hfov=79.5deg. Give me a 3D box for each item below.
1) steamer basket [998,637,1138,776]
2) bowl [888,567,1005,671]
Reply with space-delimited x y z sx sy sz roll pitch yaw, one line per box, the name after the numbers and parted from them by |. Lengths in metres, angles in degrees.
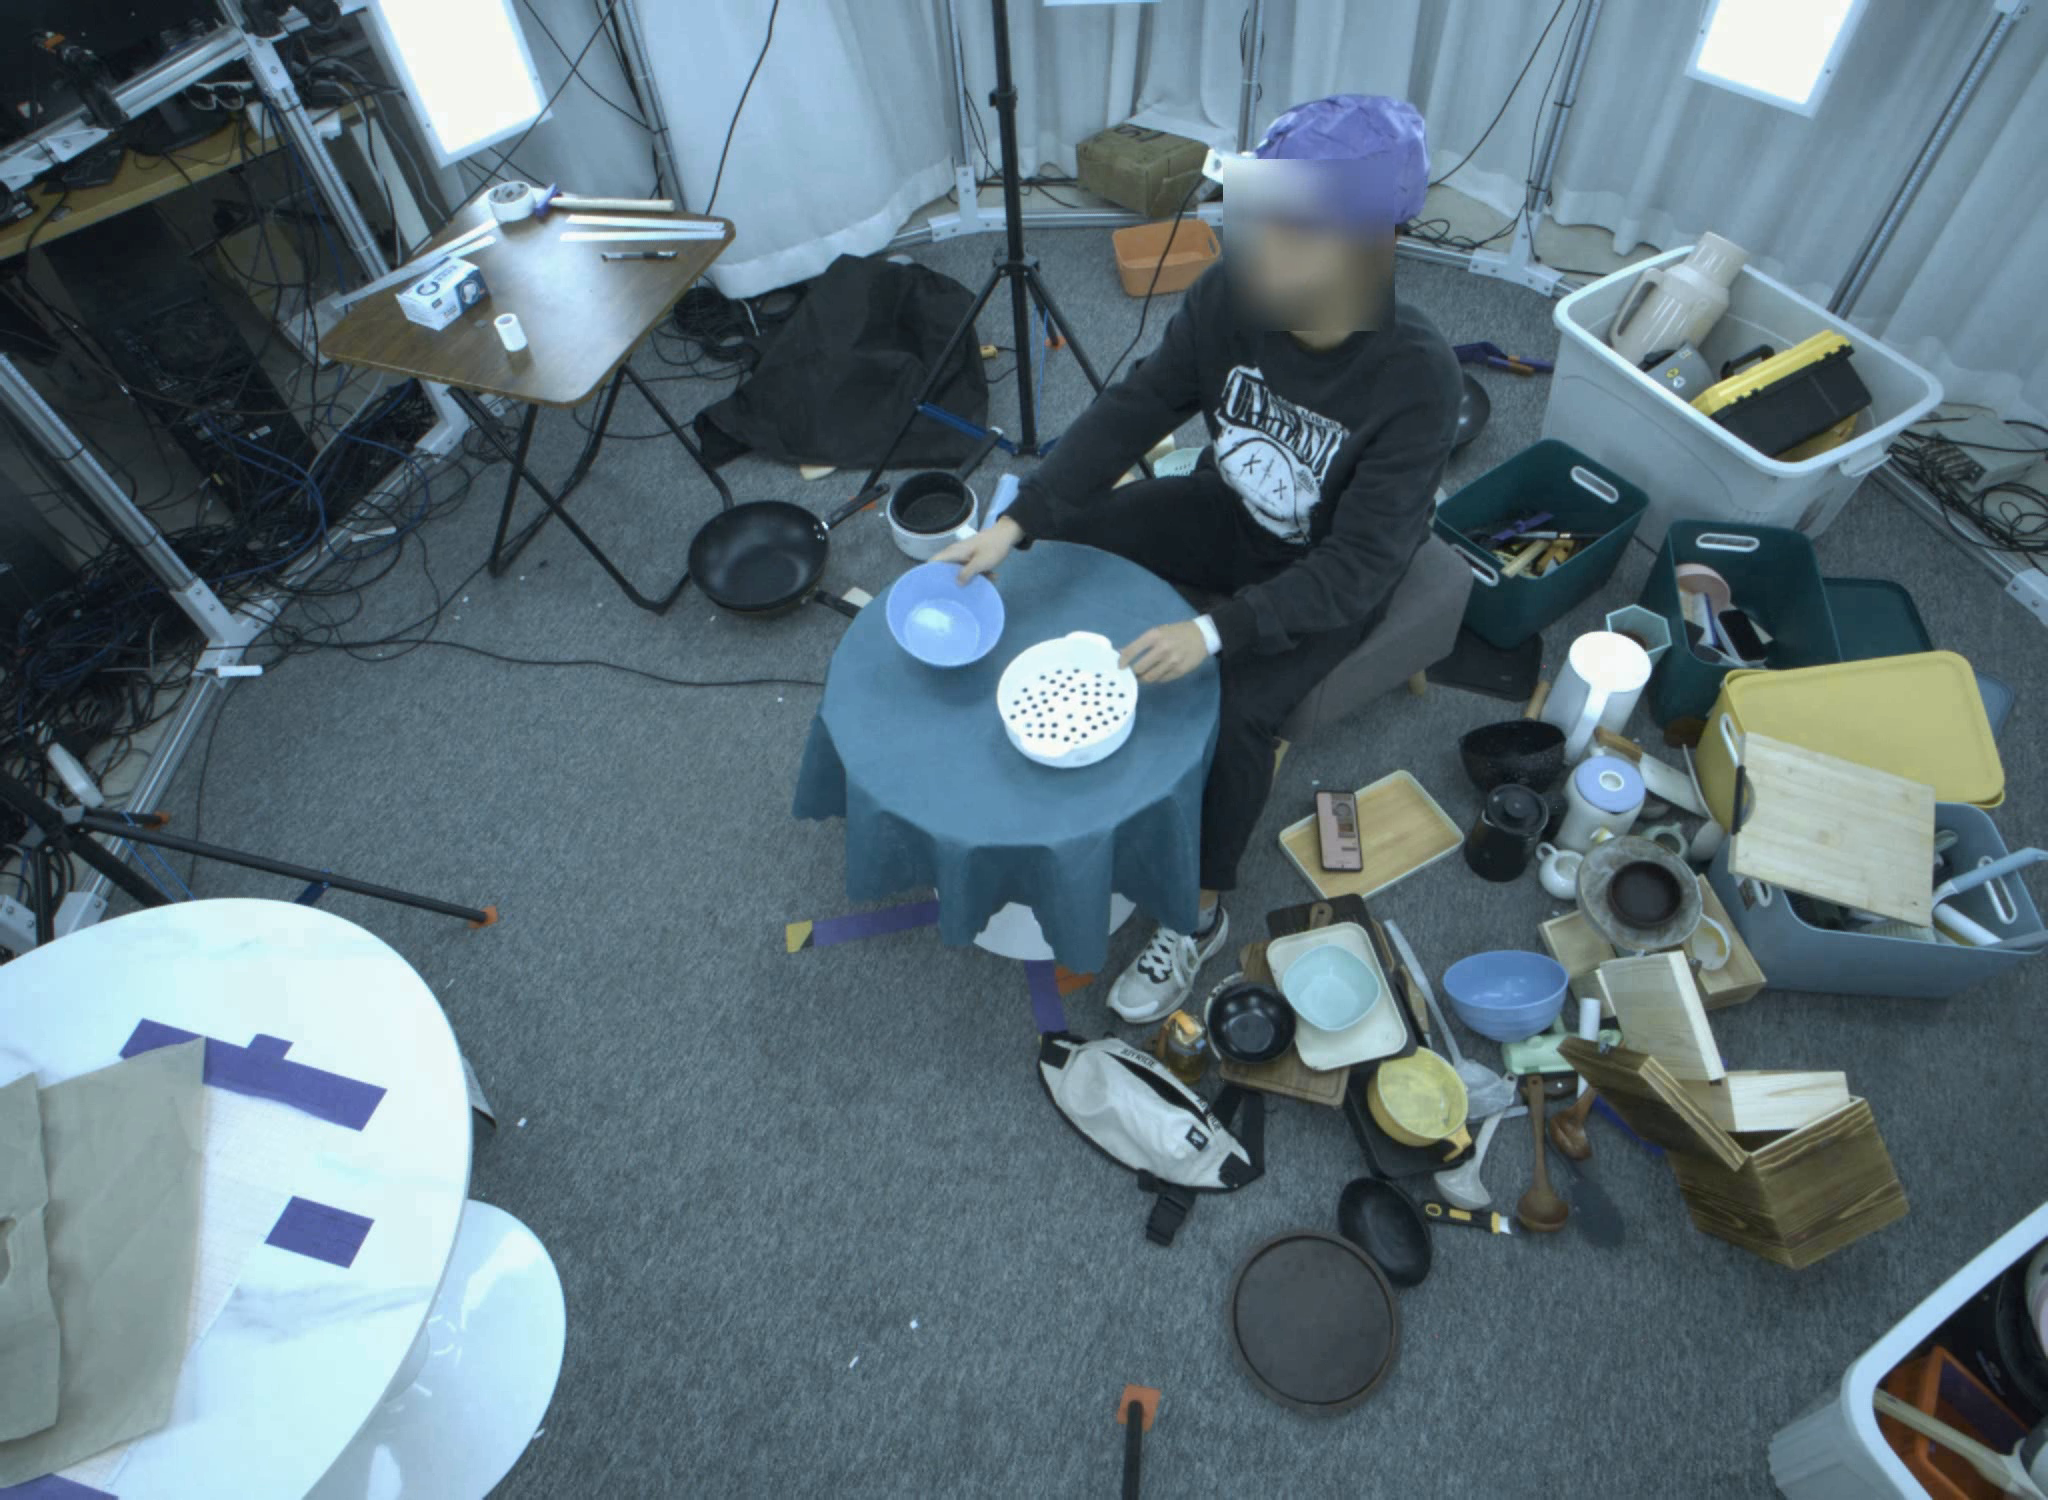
0.066 -0.057 1.791 0.200 0.070 0.230 14 60 13 | steamer basket
-0.121 -0.187 1.857 0.177 0.070 0.174 5 67 -10 | bowl
